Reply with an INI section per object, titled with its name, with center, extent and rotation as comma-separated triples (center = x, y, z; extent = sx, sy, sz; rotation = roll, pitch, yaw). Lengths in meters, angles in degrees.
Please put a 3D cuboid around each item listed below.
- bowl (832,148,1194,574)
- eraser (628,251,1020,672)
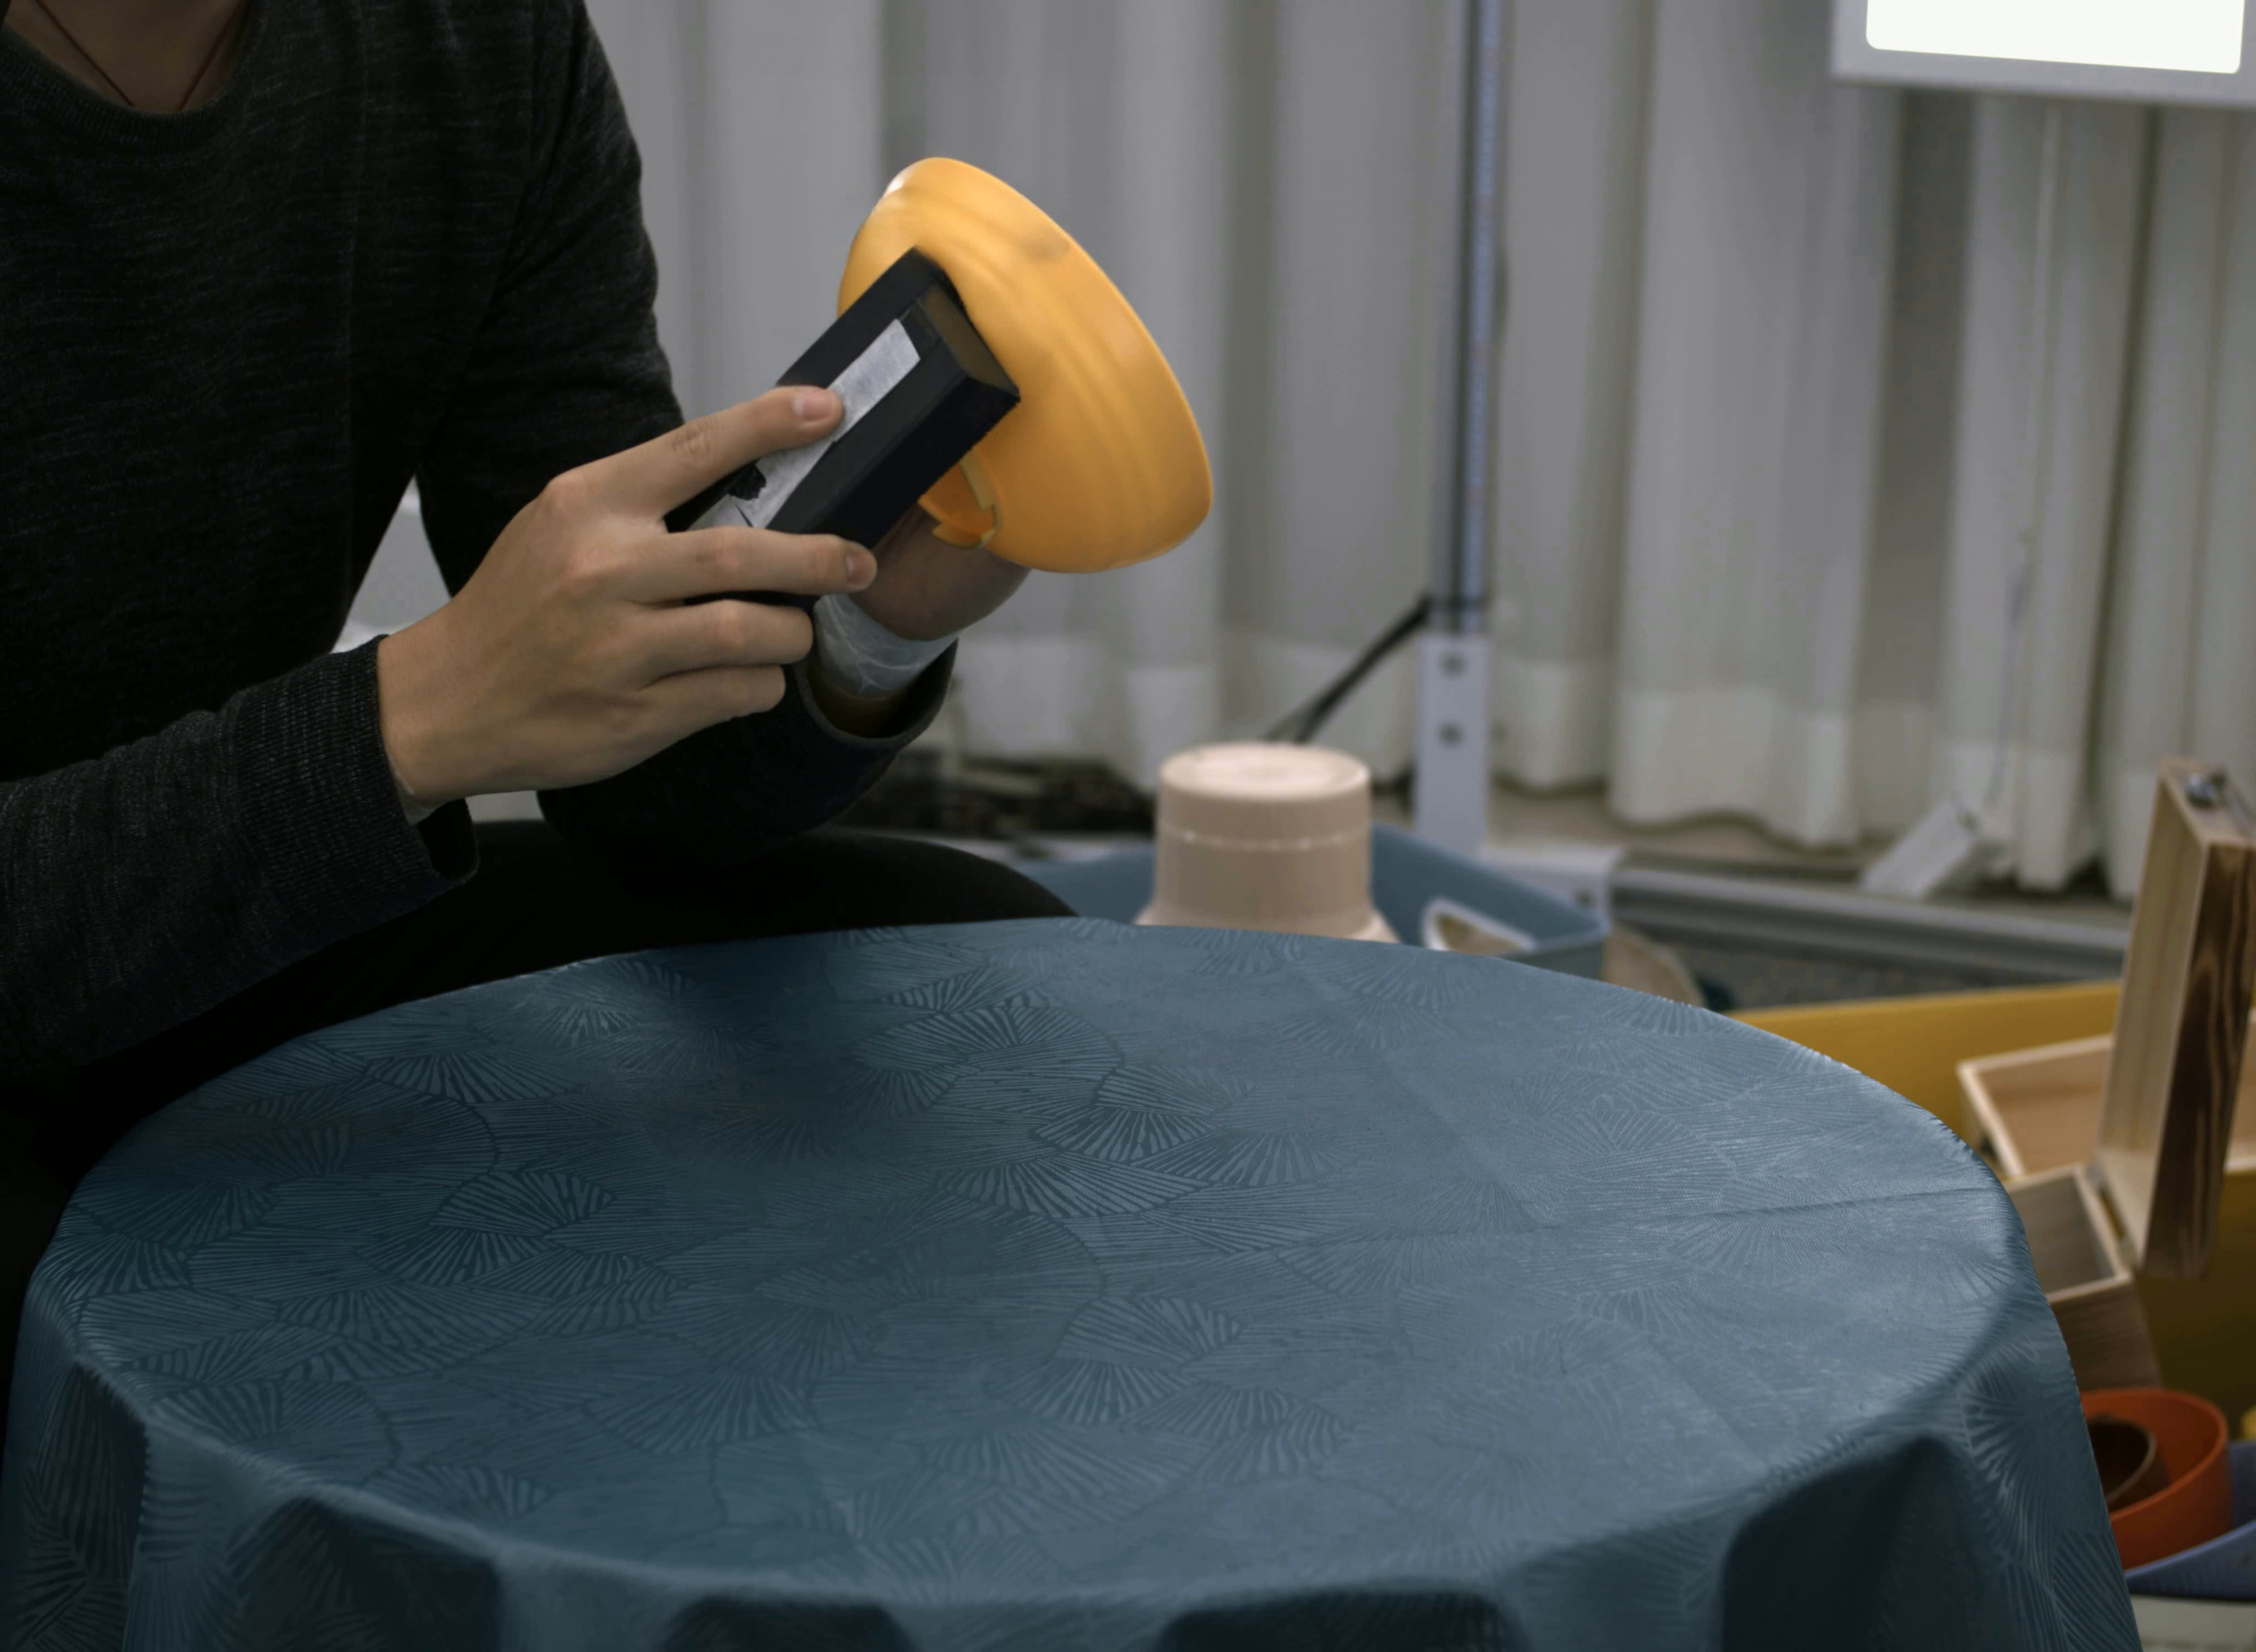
[bowl]
center = -0.047, -0.128, 1.592
extent = 0.060, 0.147, 0.143
rotation = -37, 31, -18
[eraser]
center = -0.089, -0.106, 1.534
extent = 0.031, 0.125, 0.053
rotation = 21, 28, -54
